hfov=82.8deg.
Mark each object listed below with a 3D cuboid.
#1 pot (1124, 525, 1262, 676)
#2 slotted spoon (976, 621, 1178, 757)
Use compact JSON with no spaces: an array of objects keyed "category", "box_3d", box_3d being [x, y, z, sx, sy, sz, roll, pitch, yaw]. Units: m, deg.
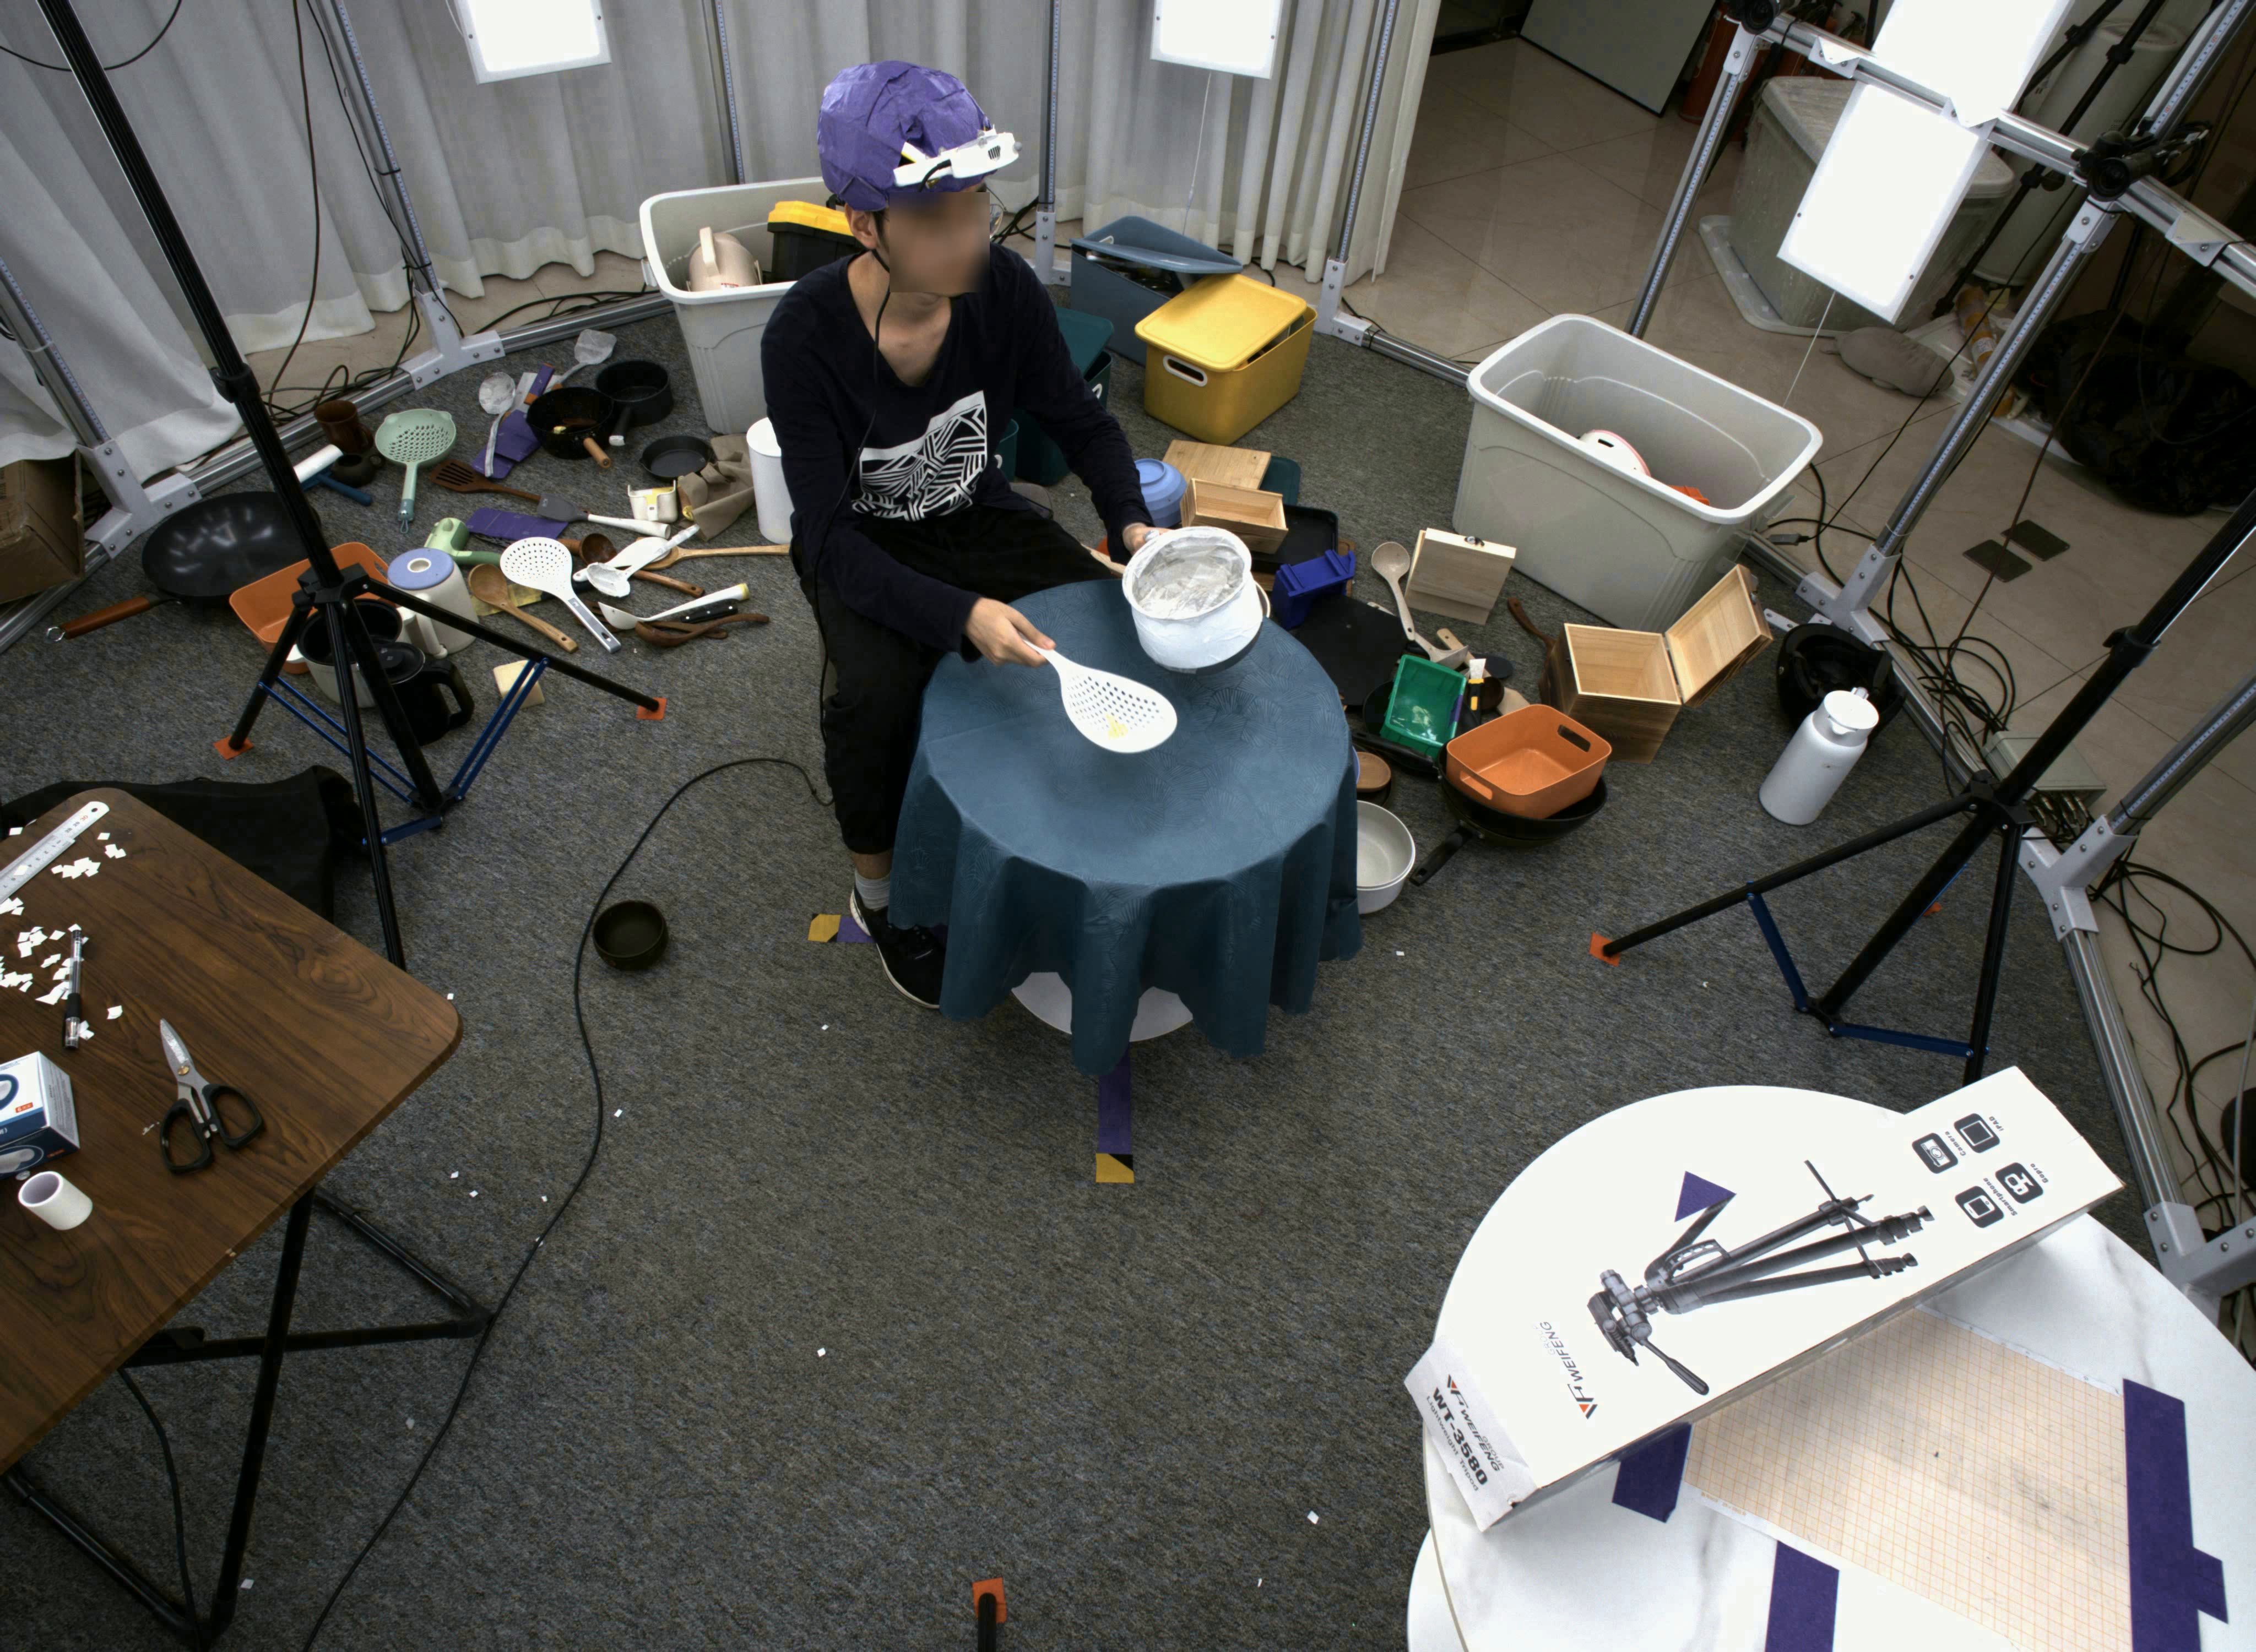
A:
[{"category":"pot","box_3d":[0.079,-0.323,1.787,0.179,0.133,0.239,-29,51,-9]},{"category":"slotted spoon","box_3d":[-0.081,-0.195,1.718,0.138,0.049,0.353,-30,60,-32]}]
